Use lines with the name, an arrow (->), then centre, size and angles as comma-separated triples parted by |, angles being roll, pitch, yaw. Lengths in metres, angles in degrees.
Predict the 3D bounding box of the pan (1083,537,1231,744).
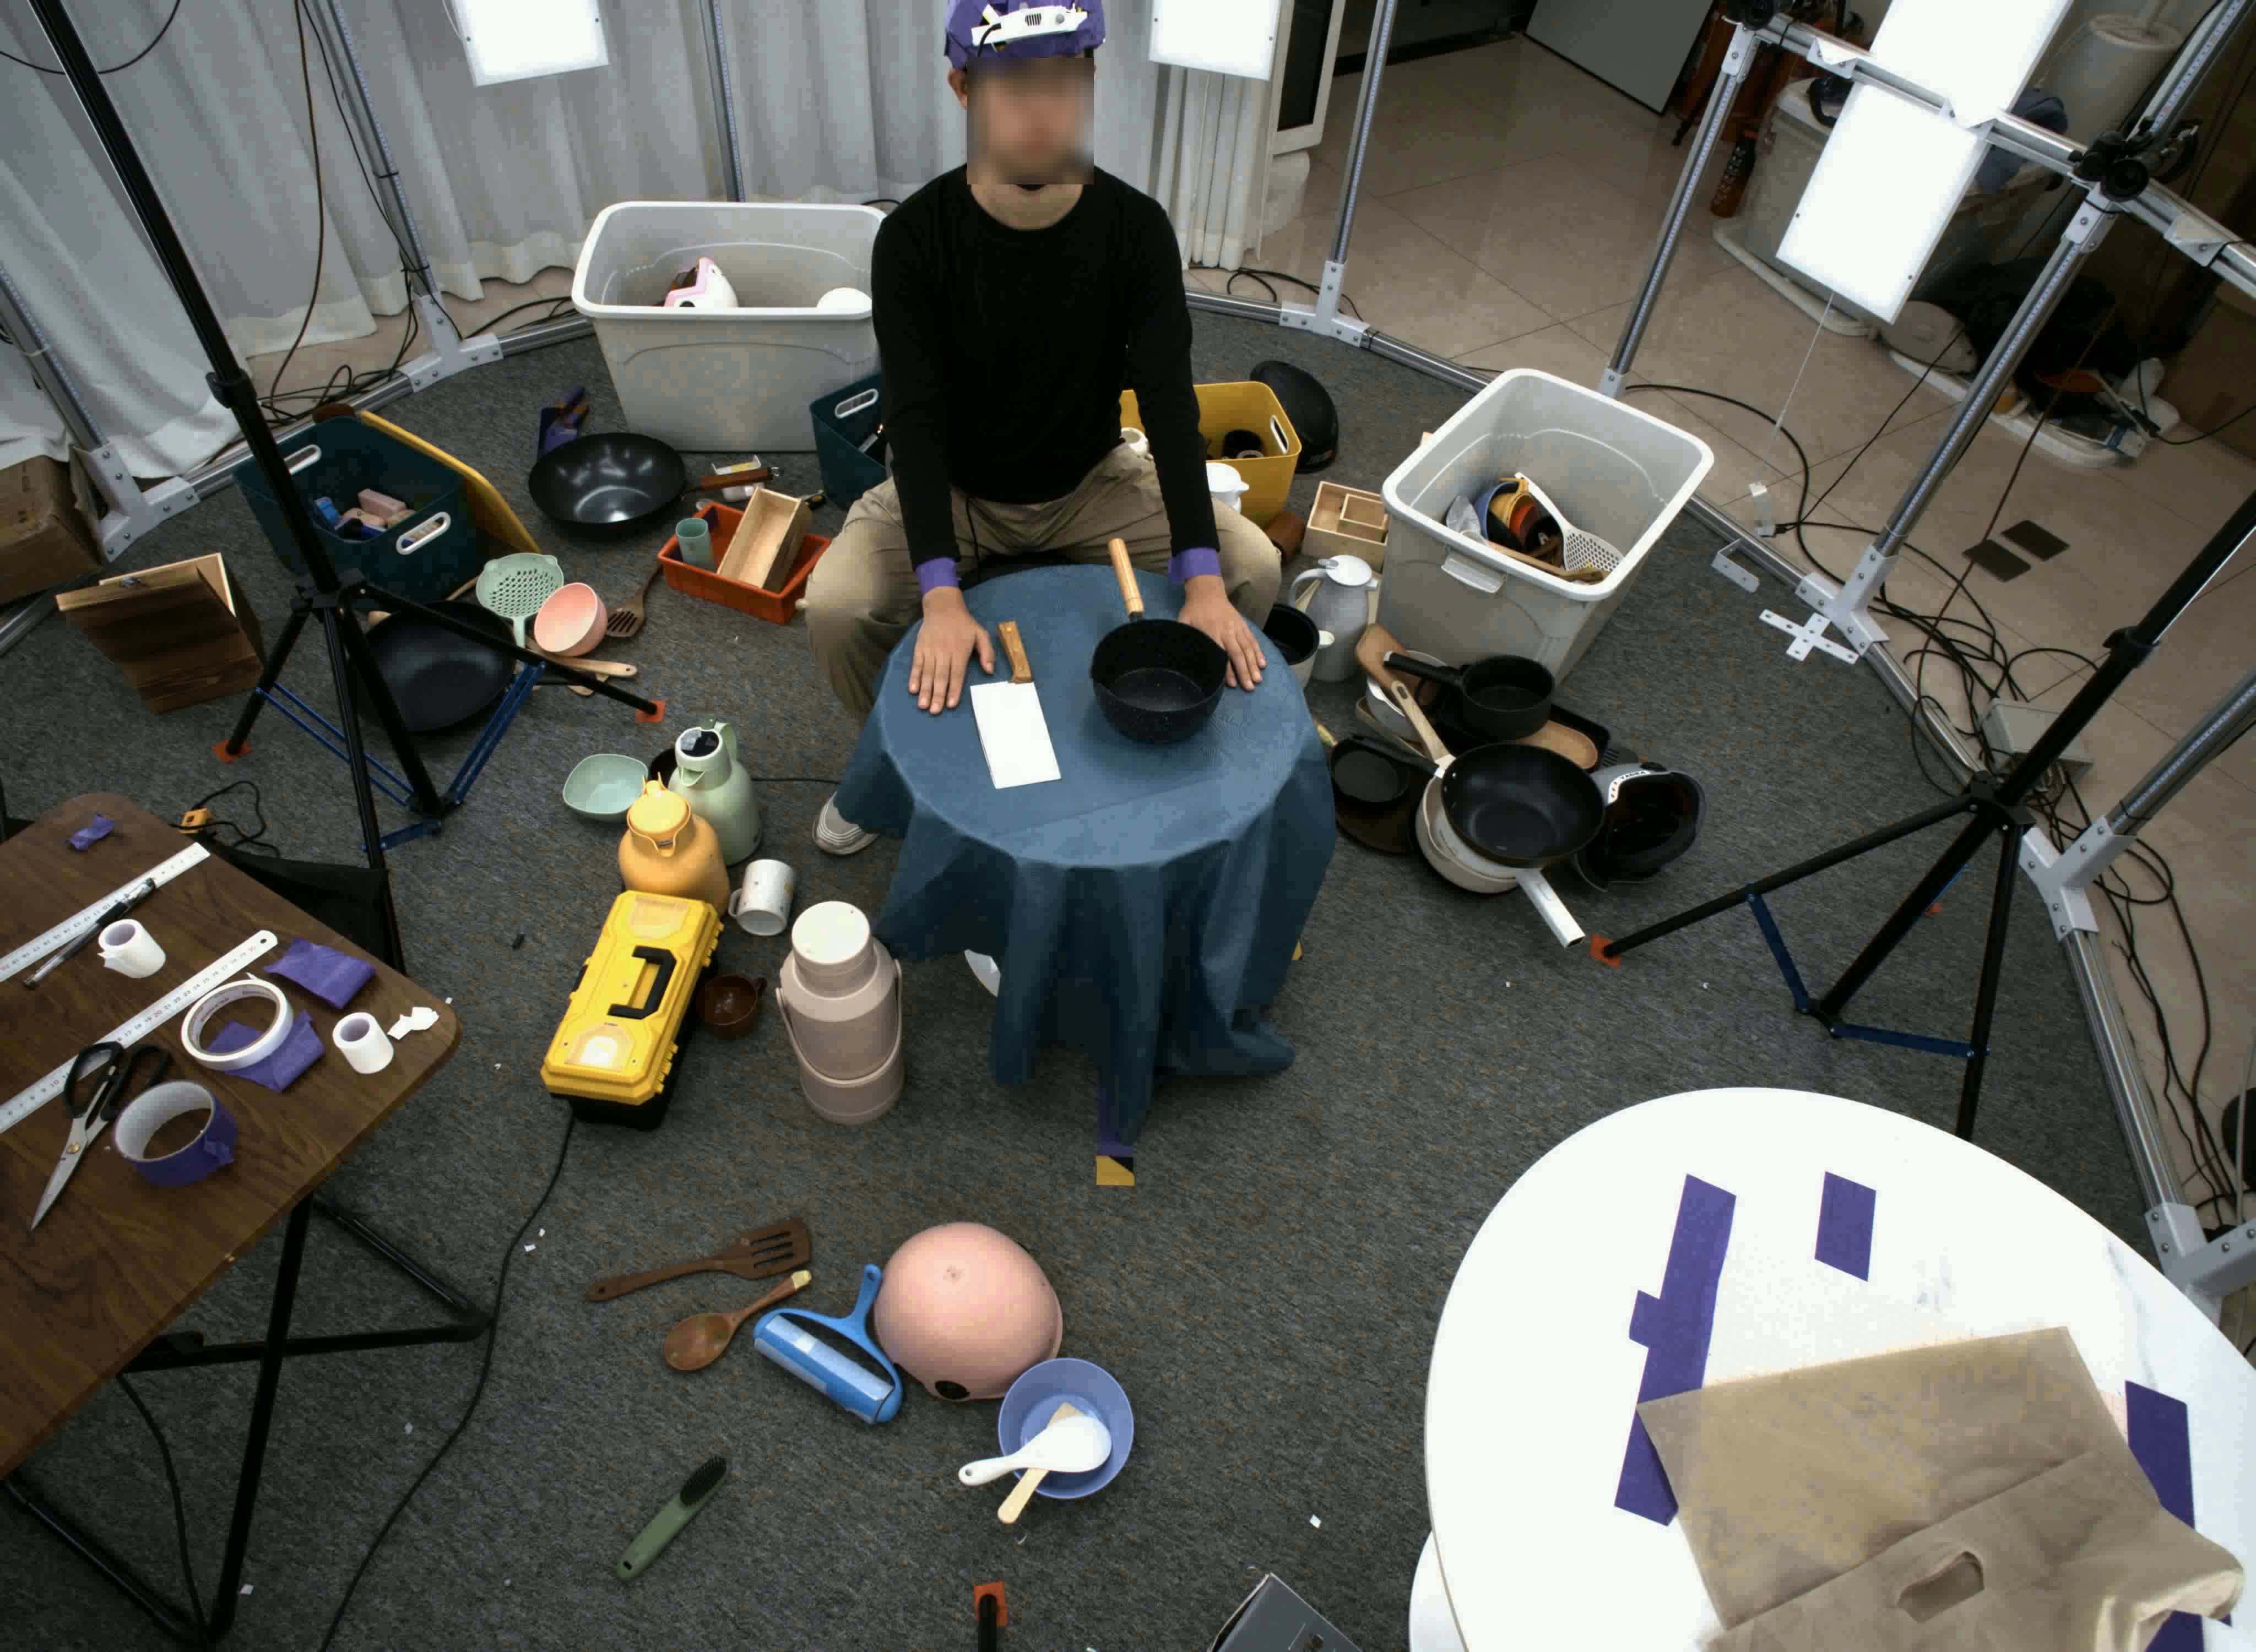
pan -> 0.020, -0.264, 1.831 | 0.207, 0.105, 0.351 | -10, 52, -12

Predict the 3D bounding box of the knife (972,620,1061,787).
knife -> -0.168, -0.175, 1.801 | 0.093, 0.020, 0.313 | -9, 53, -10
